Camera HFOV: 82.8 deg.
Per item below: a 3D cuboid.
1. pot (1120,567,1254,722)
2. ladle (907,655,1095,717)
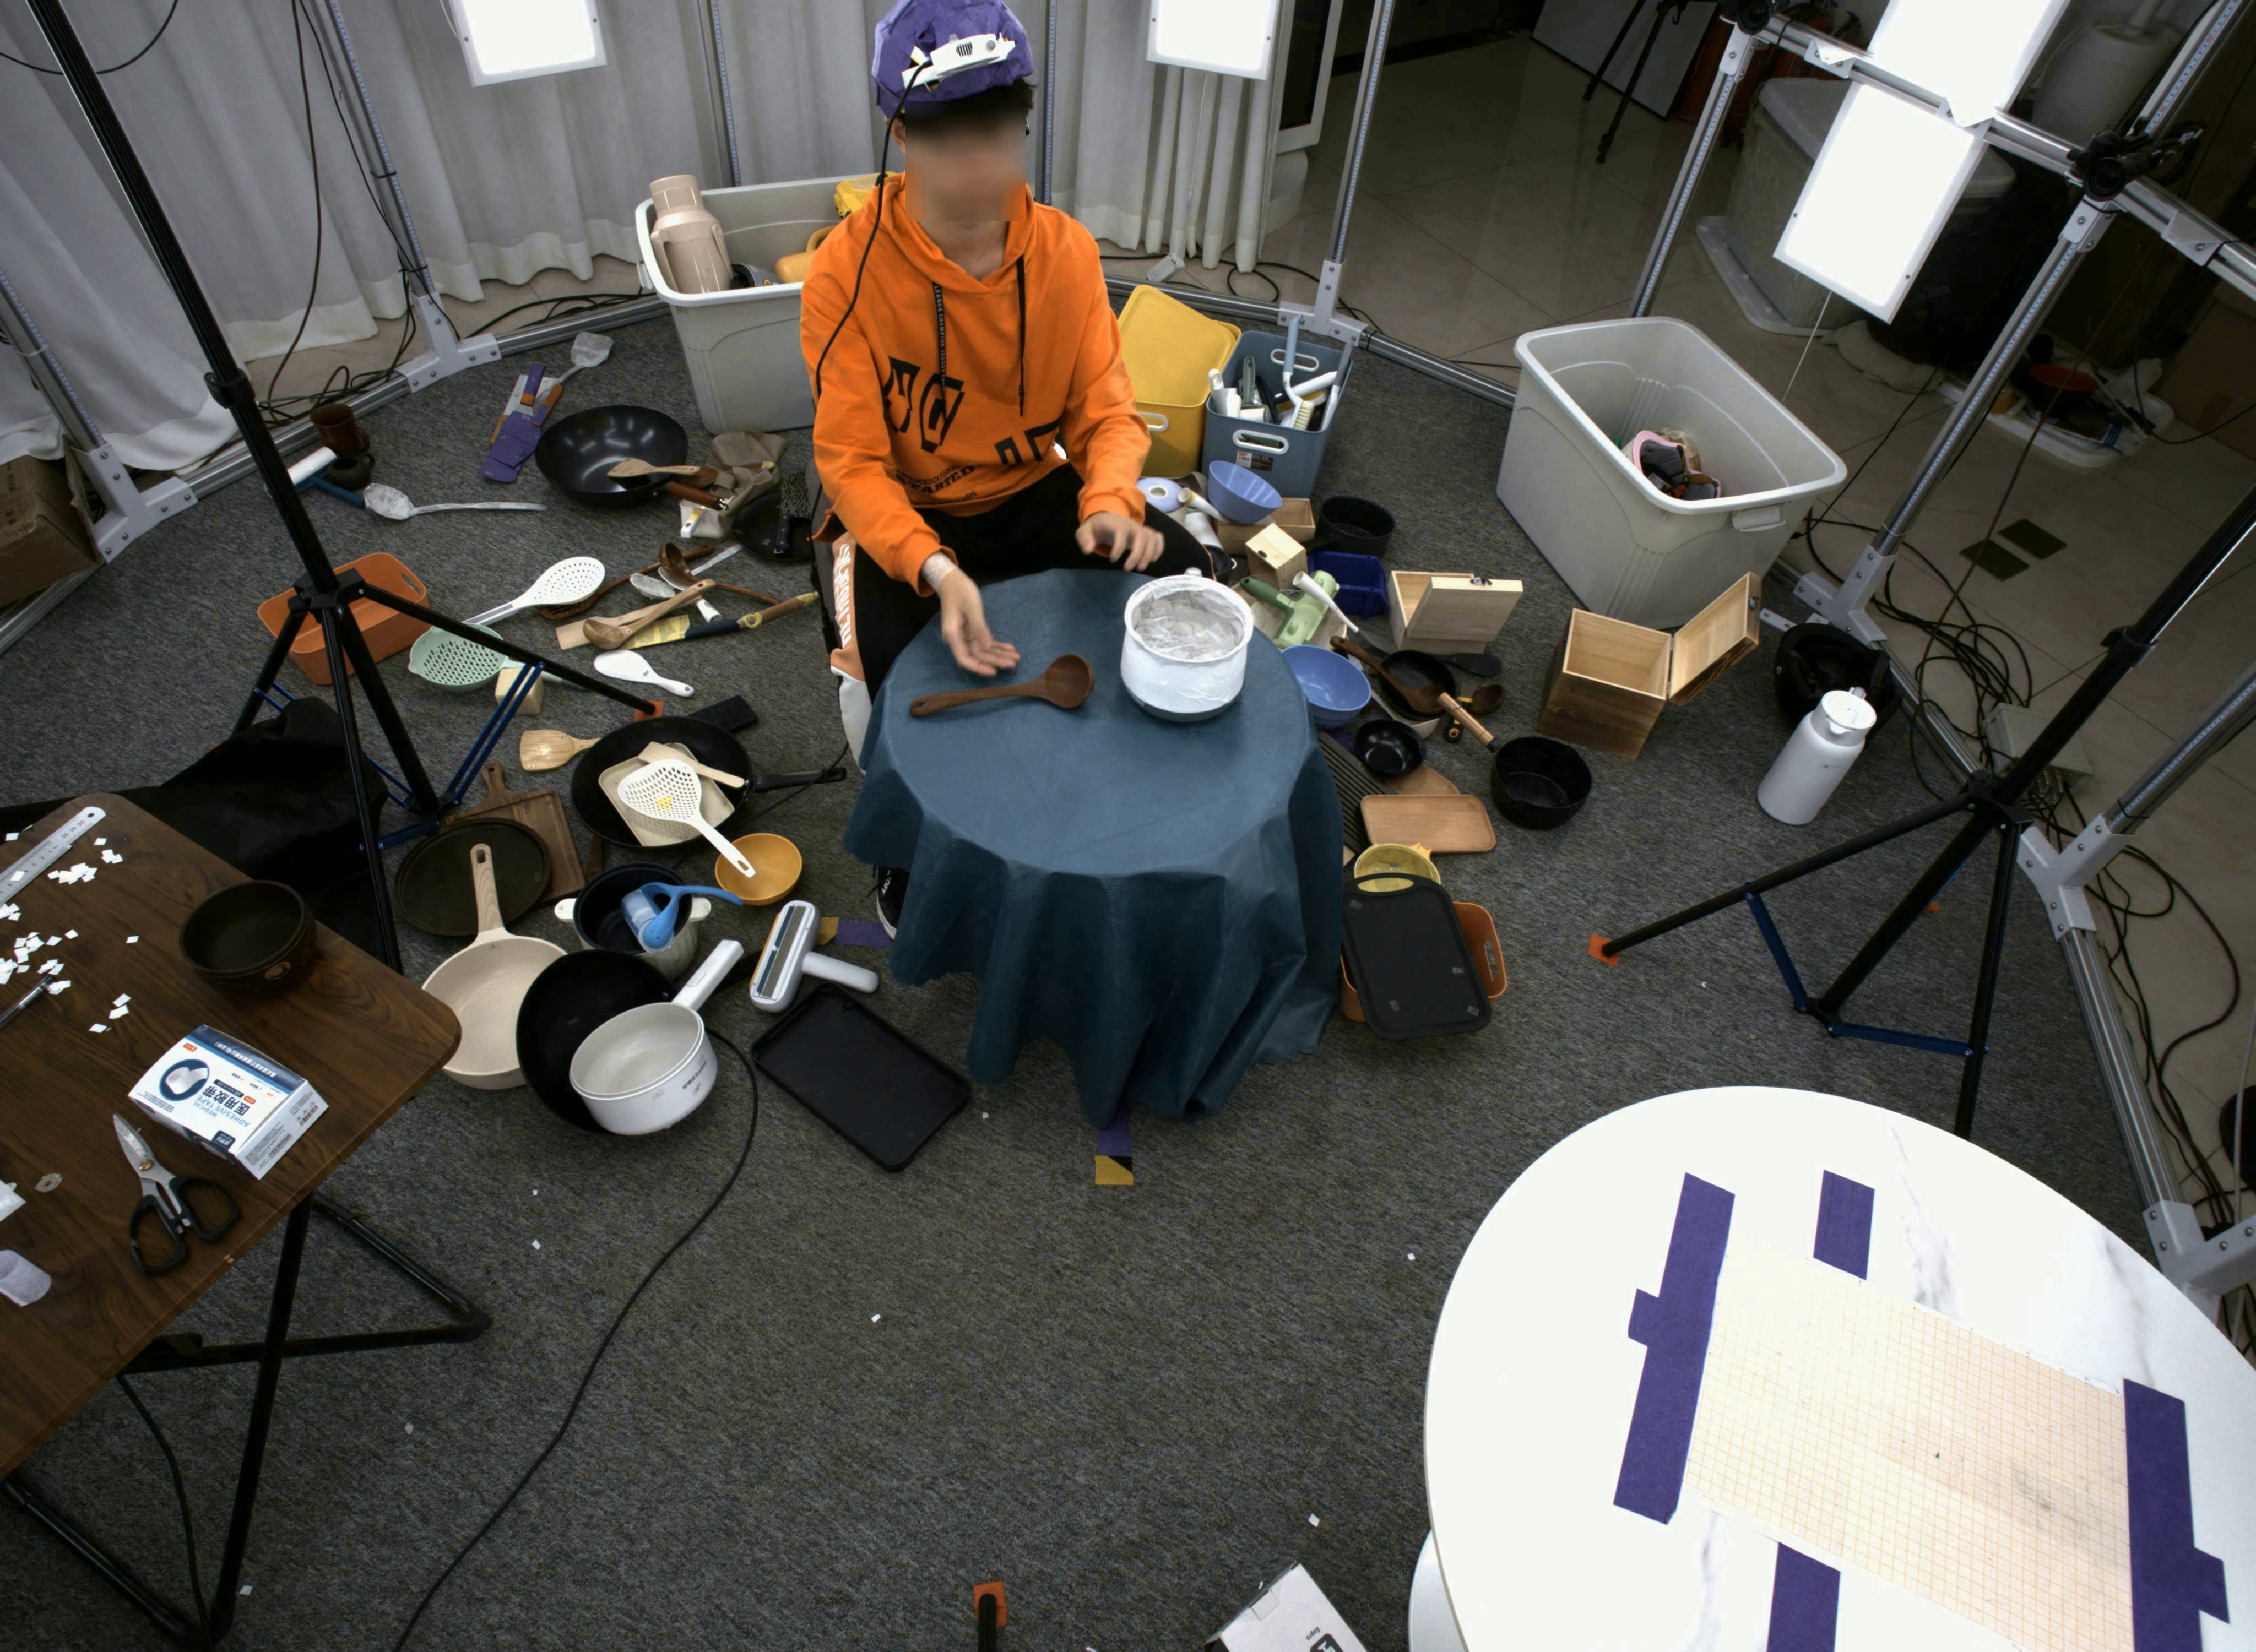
[{"bbox_3d":[0.081,-0.266,1.816,0.178,0.133,0.239,6,49,0],"label":"pot"},{"bbox_3d":[-0.174,-0.187,1.780,0.260,0.064,0.077,-9,75,-12],"label":"ladle"}]
